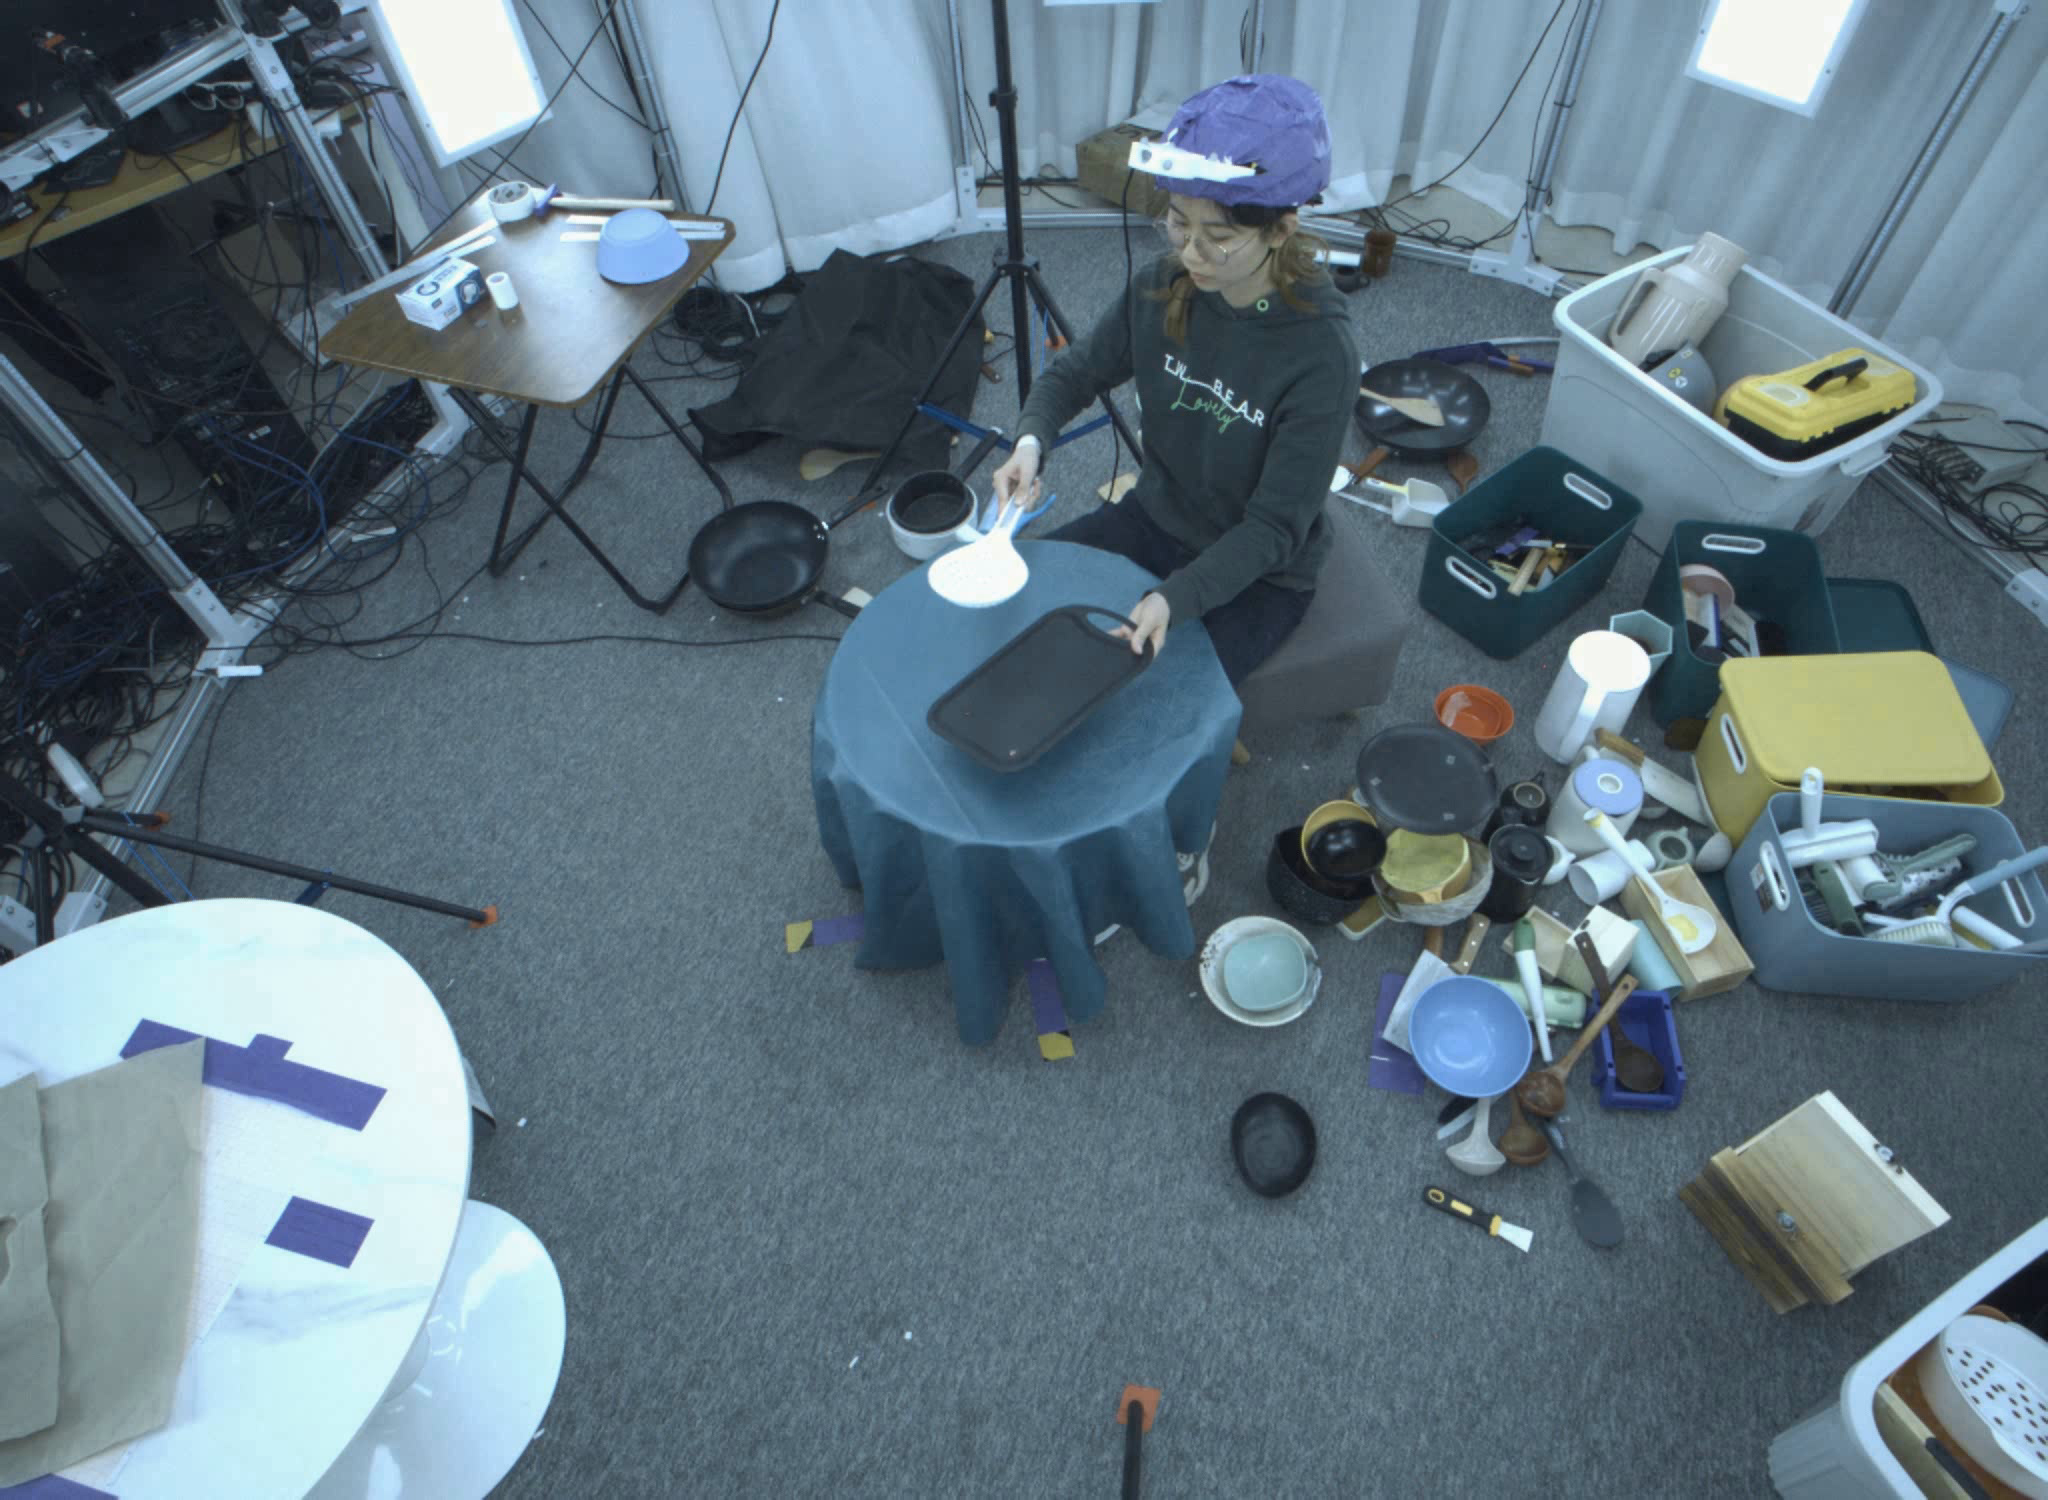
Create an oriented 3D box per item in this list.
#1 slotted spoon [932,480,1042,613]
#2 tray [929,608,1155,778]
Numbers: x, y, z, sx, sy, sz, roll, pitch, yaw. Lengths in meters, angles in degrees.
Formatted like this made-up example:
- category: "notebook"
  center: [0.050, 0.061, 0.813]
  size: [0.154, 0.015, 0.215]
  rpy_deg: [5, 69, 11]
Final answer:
- category: "slotted spoon"
  center: [-0.032, -0.299, 1.763]
  size: [0.135, 0.046, 0.348]
  rpy_deg: [11, 48, 9]
- category: "tray"
  center: [0.030, -0.094, 1.743]
  size: [0.327, 0.010, 0.206]
  rpy_deg: [-40, 51, -21]
